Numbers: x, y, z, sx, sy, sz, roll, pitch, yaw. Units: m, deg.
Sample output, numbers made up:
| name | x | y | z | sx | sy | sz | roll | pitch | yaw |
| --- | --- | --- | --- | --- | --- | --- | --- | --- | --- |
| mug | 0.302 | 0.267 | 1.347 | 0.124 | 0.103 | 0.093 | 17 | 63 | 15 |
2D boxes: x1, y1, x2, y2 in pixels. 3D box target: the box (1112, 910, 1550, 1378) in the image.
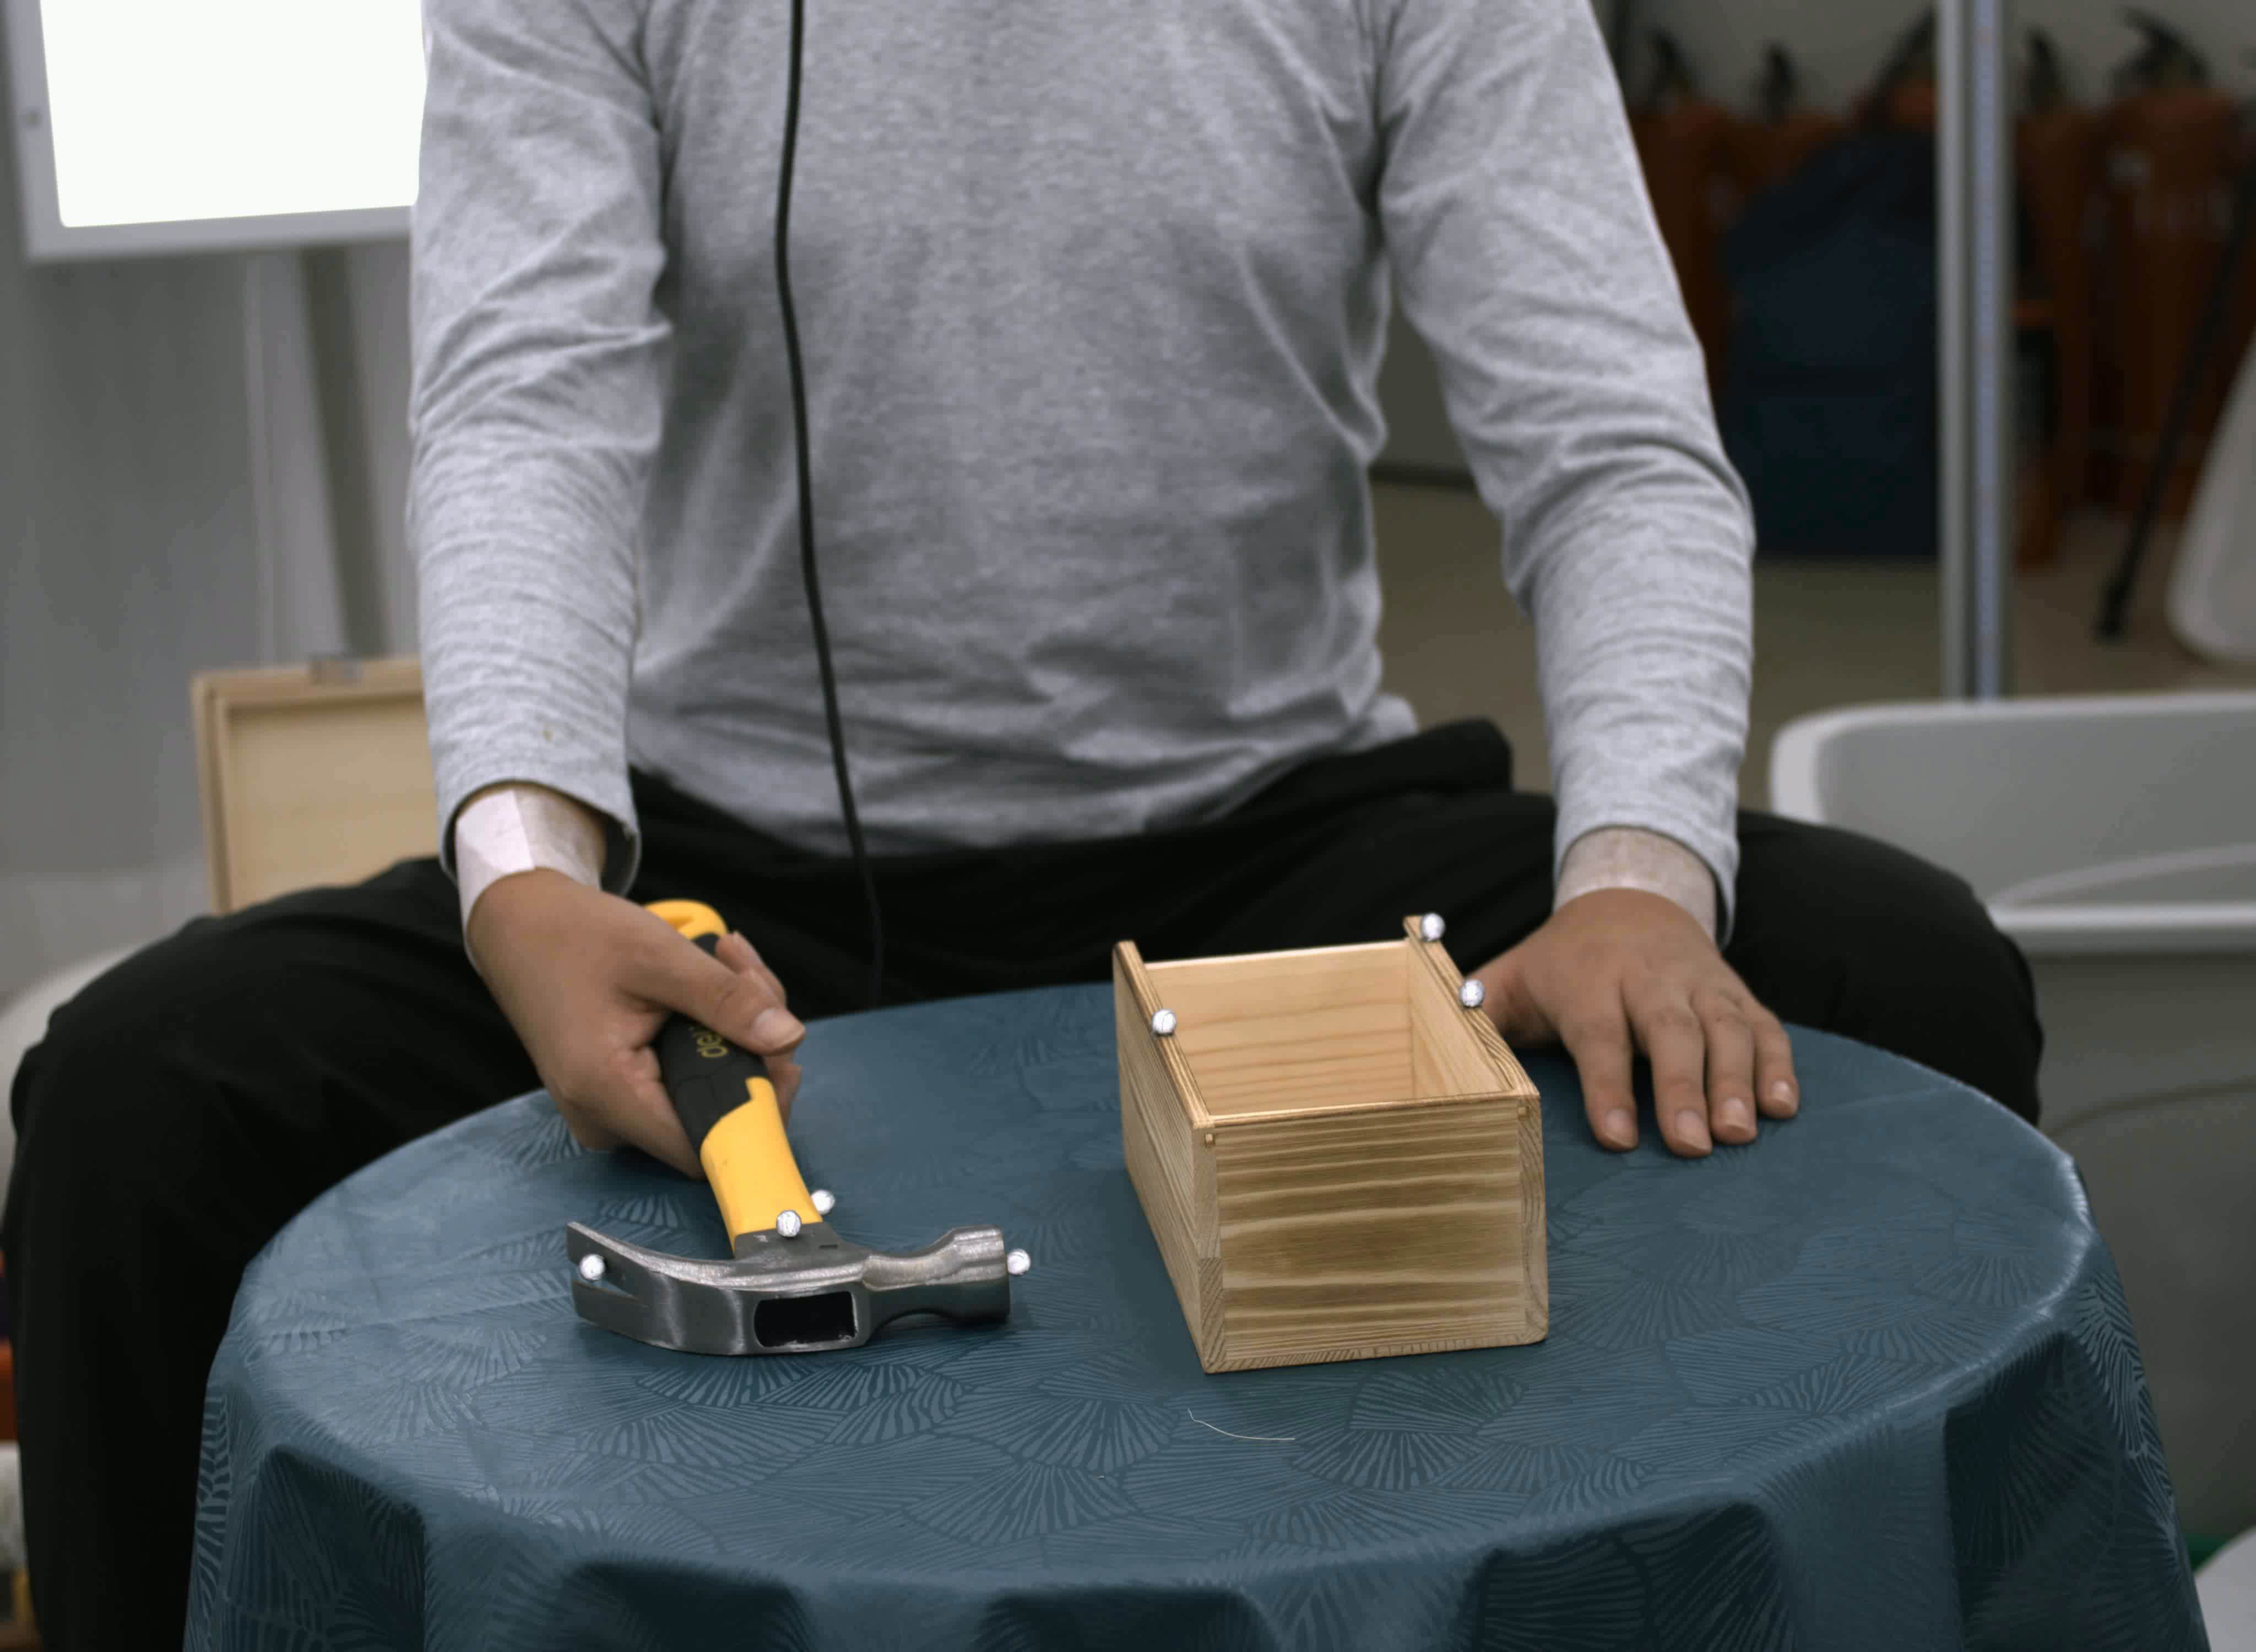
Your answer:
| name | x | y | z | sx | sy | sz | roll | pitch | yaw |
| --- | --- | --- | --- | --- | --- | --- | --- | --- | --- |
| box | 0.061 | 0.096 | 1.691 | 0.106 | 0.081 | 0.212 | -6 | 14 | -5 |

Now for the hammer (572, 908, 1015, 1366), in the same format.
| name | x | y | z | sx | sy | sz | roll | pitch | yaw |
| --- | --- | --- | --- | --- | --- | --- | --- | --- | --- |
| hammer | -0.131 | 0.095 | 1.789 | 0.129 | 0.032 | 0.341 | -9 | 21 | -9 |
